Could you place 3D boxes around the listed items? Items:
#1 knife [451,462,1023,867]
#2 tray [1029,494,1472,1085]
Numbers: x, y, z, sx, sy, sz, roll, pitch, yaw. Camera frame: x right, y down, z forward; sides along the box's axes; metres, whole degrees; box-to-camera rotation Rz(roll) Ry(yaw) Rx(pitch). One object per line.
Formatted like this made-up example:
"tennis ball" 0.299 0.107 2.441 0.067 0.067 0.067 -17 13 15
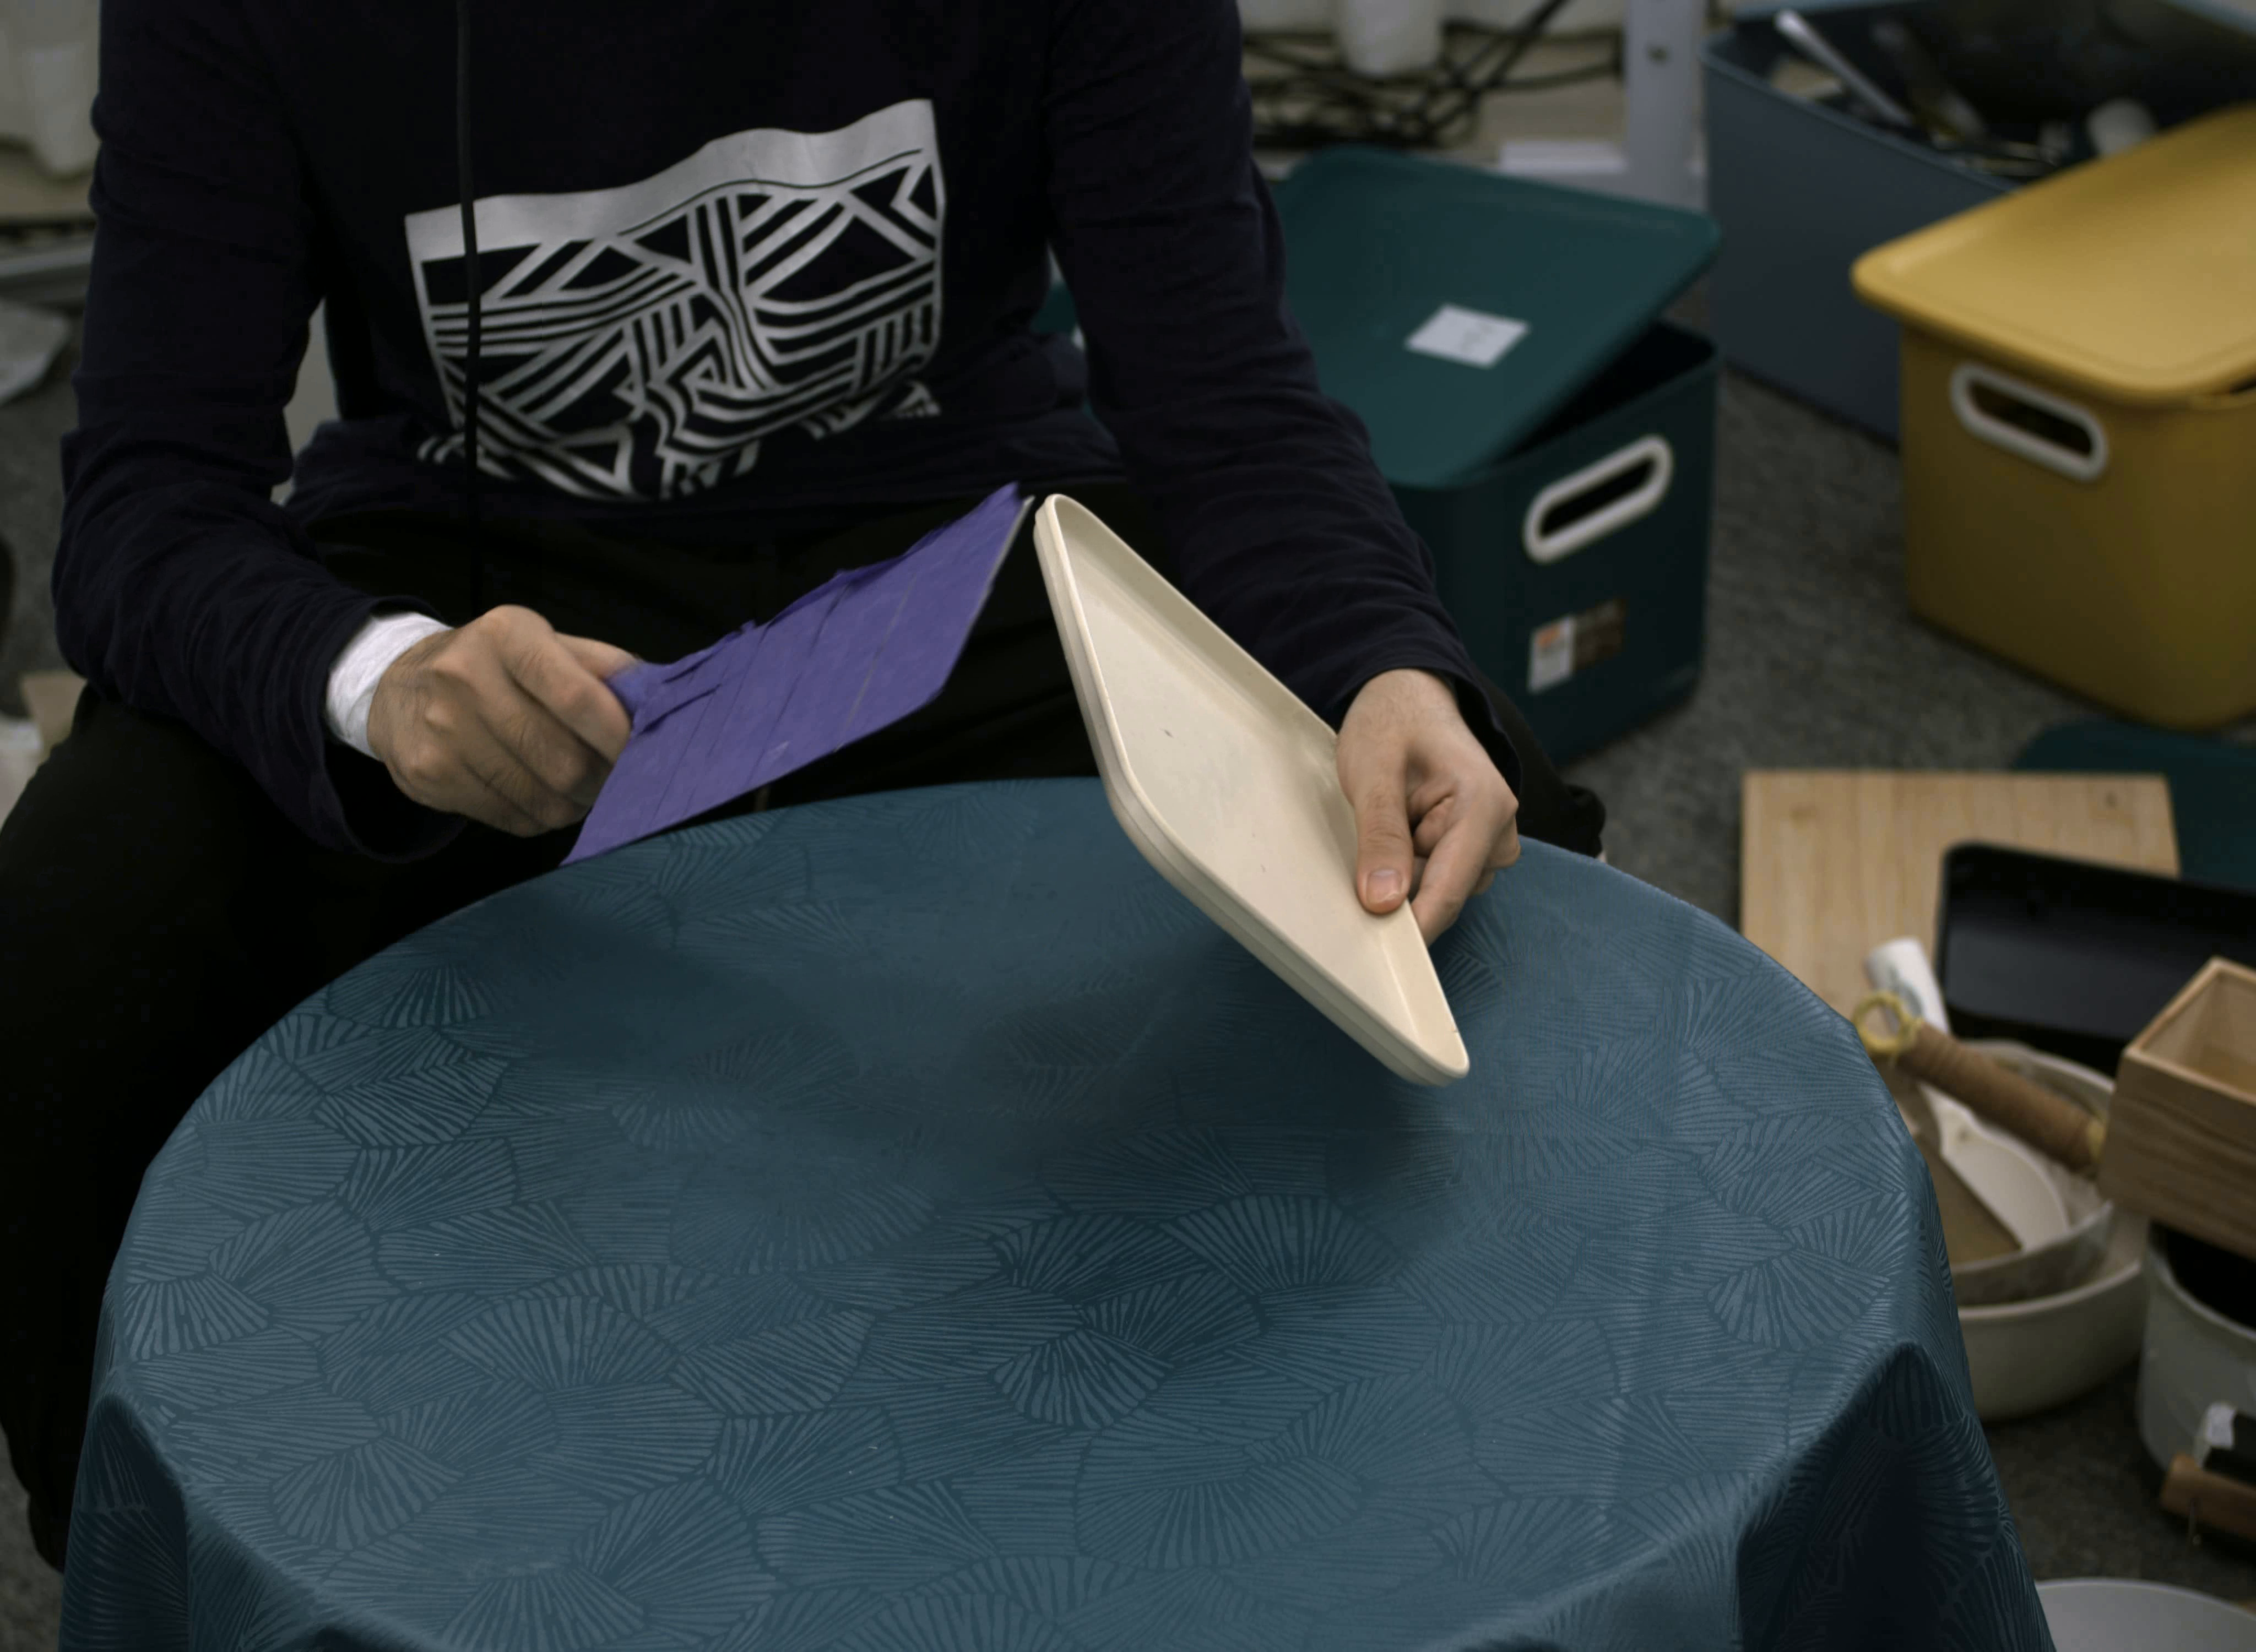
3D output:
"knife" -0.146 -0.035 1.865 0.310 0.032 0.106 -26 30 48
"tray" 0.037 -0.012 1.899 0.017 0.170 0.243 -42 27 15
